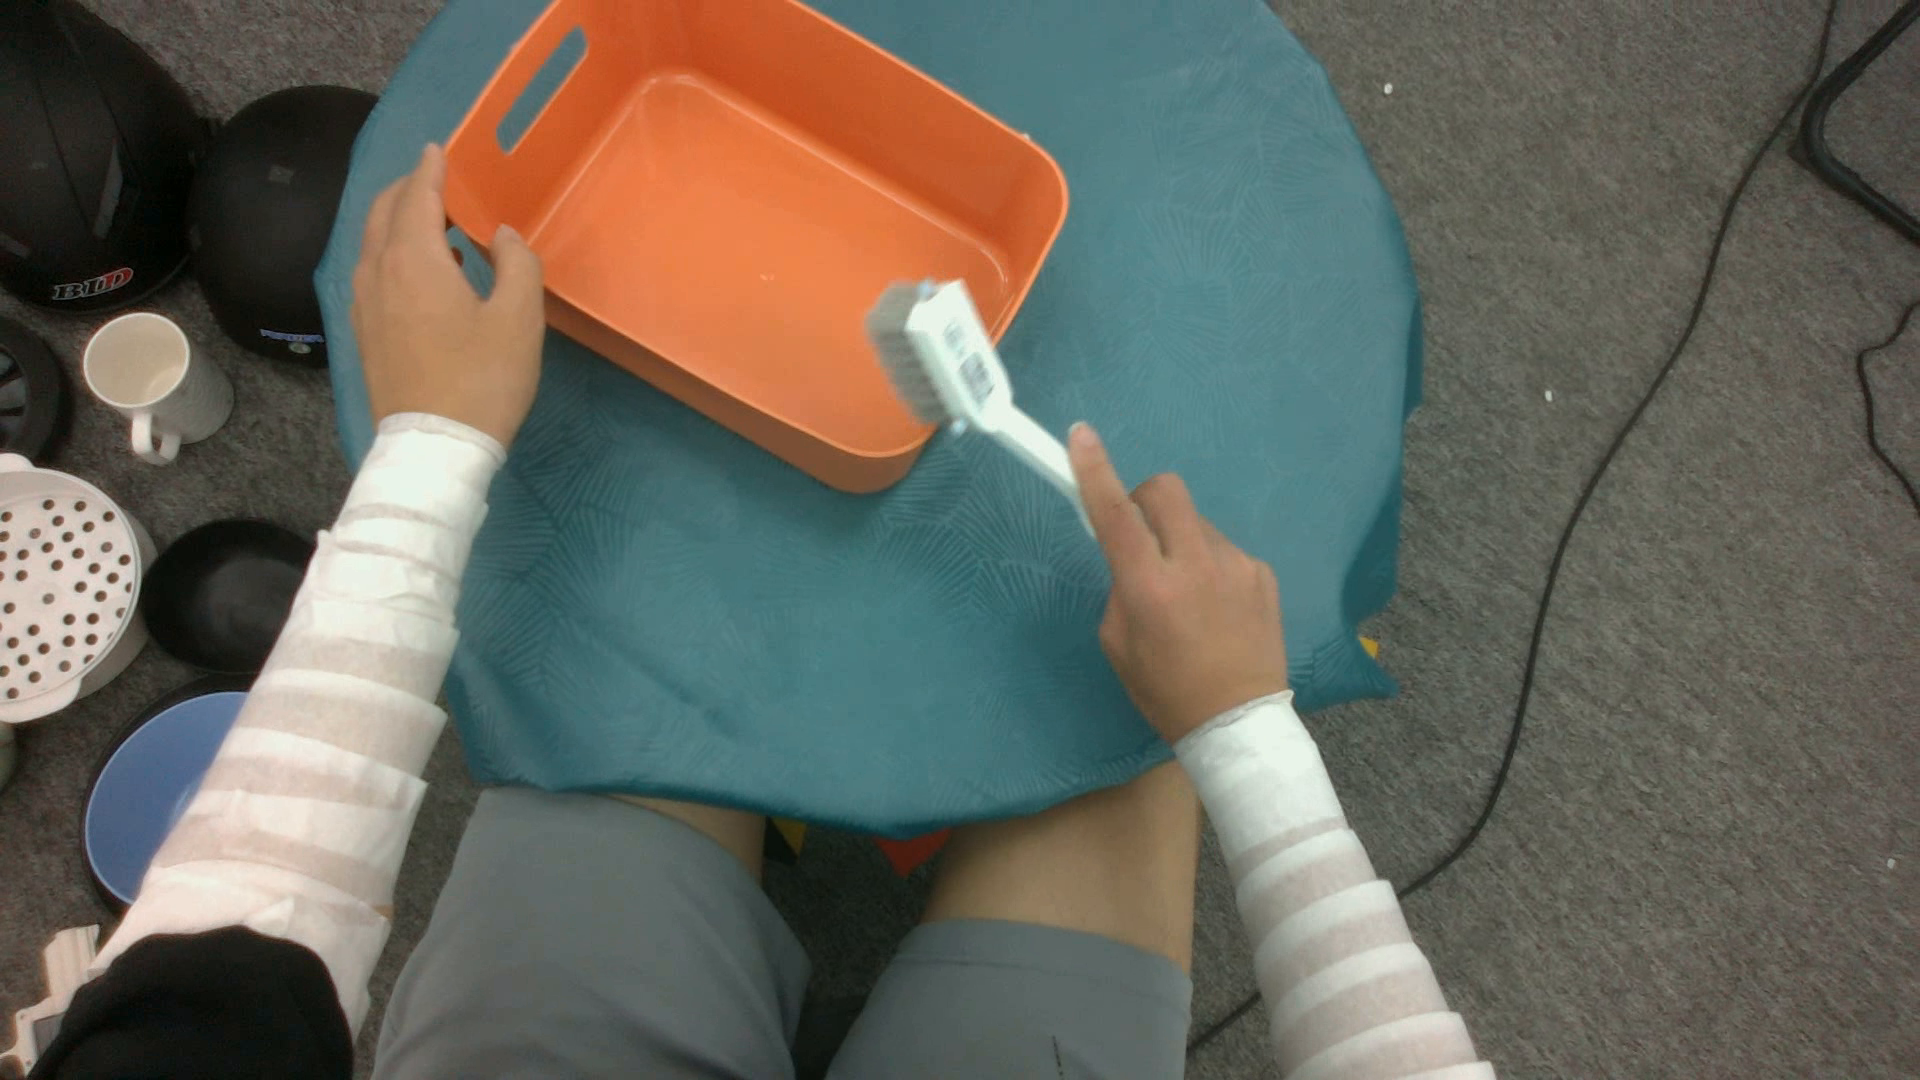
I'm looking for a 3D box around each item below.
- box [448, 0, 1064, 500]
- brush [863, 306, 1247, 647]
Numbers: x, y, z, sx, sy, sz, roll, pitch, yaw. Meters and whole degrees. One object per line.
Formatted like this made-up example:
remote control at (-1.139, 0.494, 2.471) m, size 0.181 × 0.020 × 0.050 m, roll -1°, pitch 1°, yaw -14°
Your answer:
box at (-0.102, -0.151, 0.724) m, size 0.273 × 0.102 × 0.200 m, roll 28°, pitch 72°, yaw 3°
brush at (0.048, -0.022, 0.663) m, size 0.243 × 0.050 × 0.034 m, roll 42°, pitch 53°, yaw -23°
